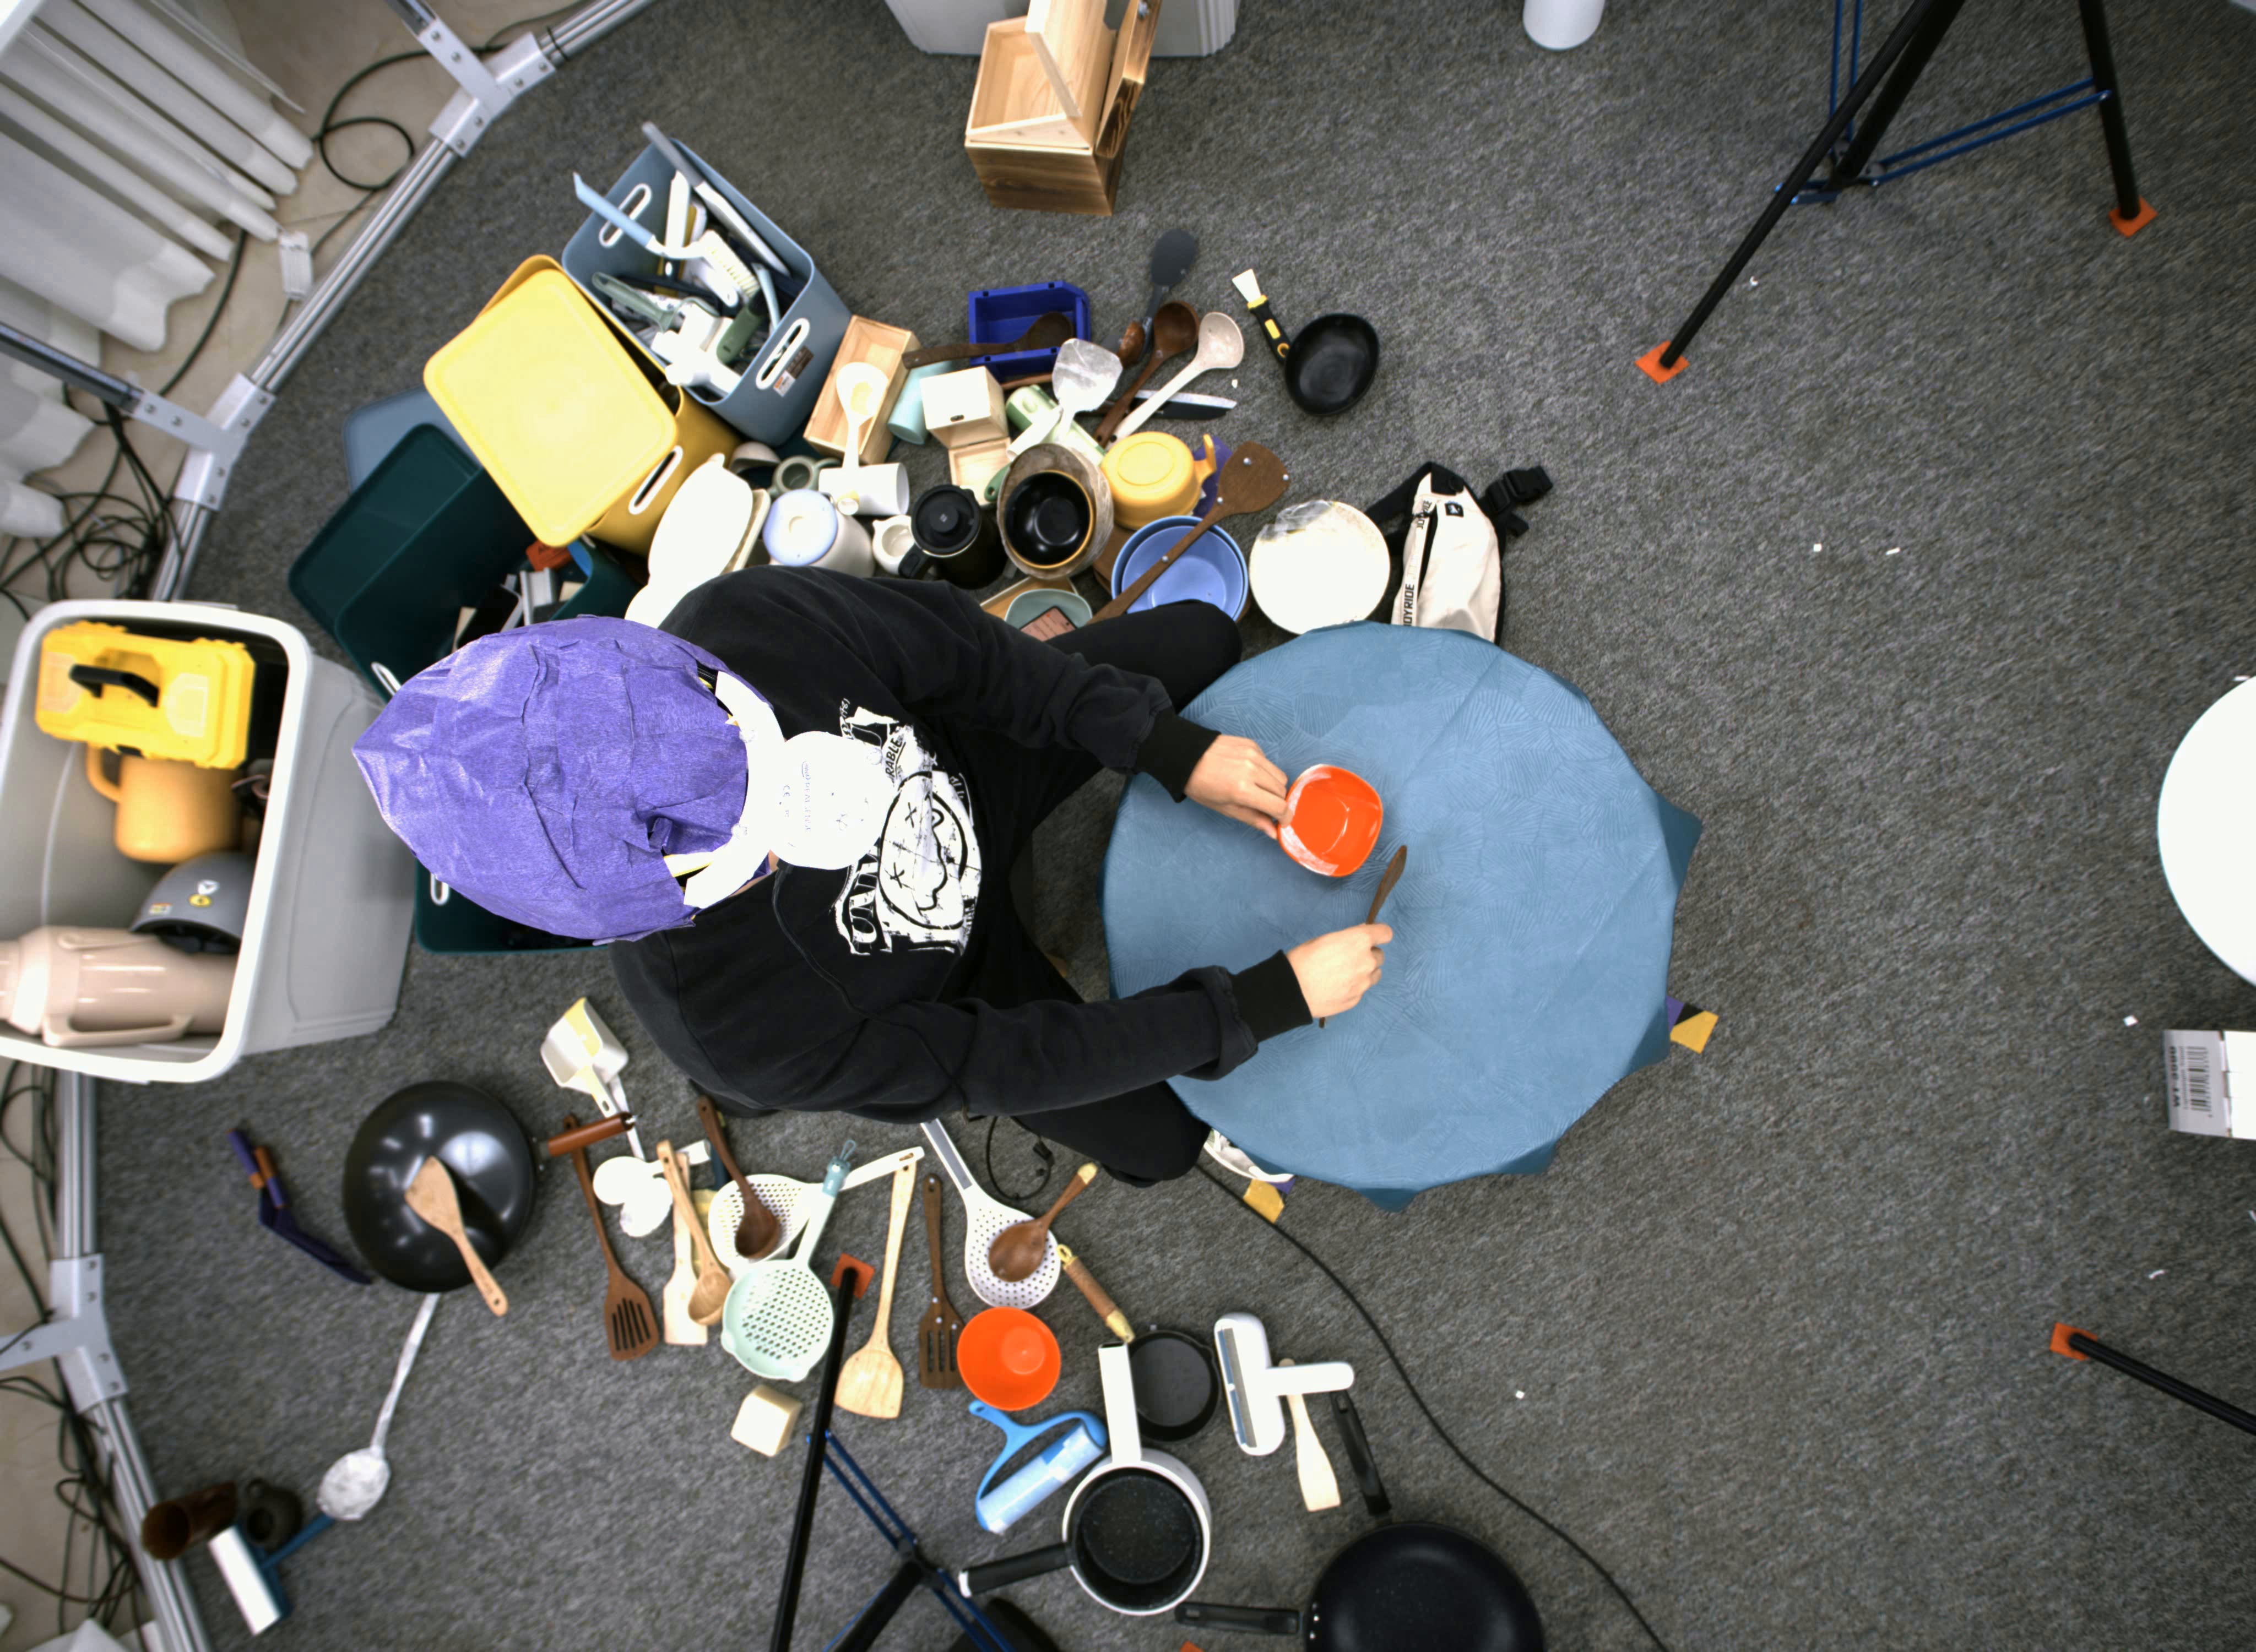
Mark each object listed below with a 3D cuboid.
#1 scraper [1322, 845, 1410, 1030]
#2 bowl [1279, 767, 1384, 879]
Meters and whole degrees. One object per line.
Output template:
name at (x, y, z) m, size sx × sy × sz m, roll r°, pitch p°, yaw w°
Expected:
scraper at (0.238, 0.112, 1.390) m, size 0.011 × 0.077 × 0.207 m, roll 23°, pitch 67°, yaw 17°
bowl at (0.205, -0.004, 1.444) m, size 0.118 × 0.051 × 0.119 m, roll 0°, pitch 93°, yaw -16°
